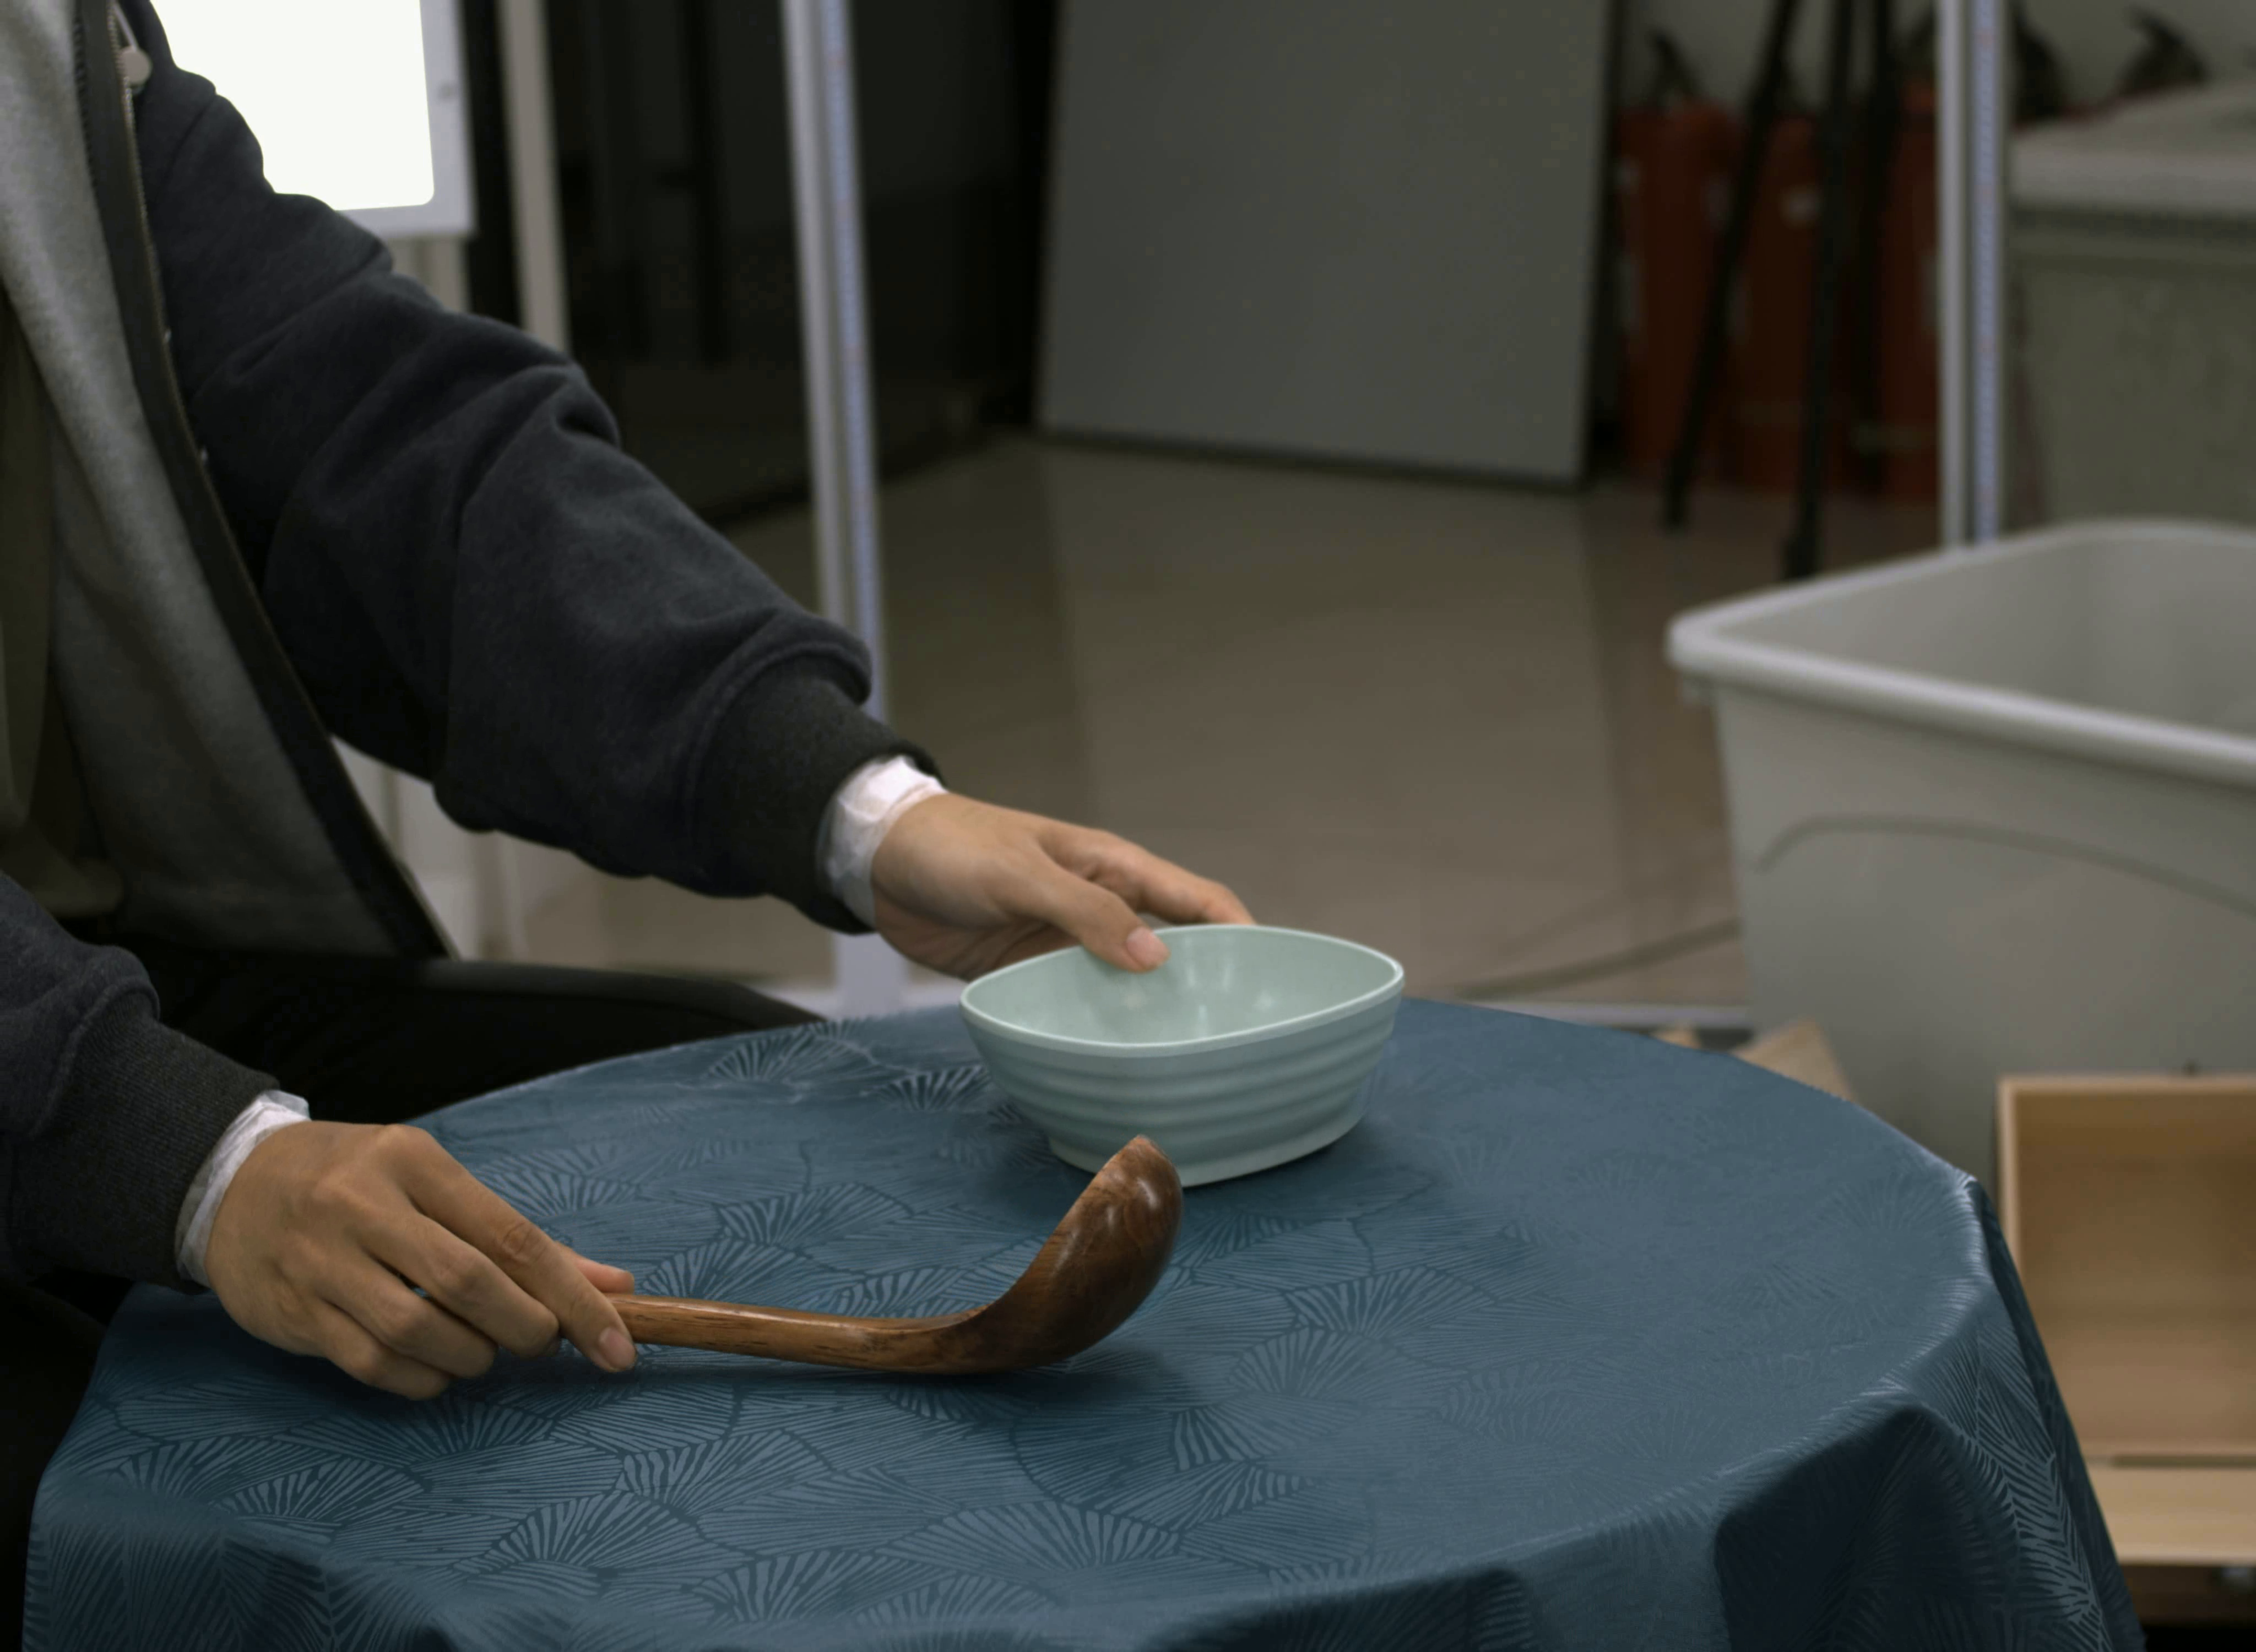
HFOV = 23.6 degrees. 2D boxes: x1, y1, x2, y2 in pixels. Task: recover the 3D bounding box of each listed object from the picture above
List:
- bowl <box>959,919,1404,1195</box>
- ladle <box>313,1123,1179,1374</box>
[{"bbox_3d":[0.019,0.080,1.804,0.149,0.059,0.152,-4,15,0],"label":"bowl"},{"bbox_3d":[-0.117,0.123,1.618,0.273,0.077,0.081,2,0,17],"label":"ladle"}]
